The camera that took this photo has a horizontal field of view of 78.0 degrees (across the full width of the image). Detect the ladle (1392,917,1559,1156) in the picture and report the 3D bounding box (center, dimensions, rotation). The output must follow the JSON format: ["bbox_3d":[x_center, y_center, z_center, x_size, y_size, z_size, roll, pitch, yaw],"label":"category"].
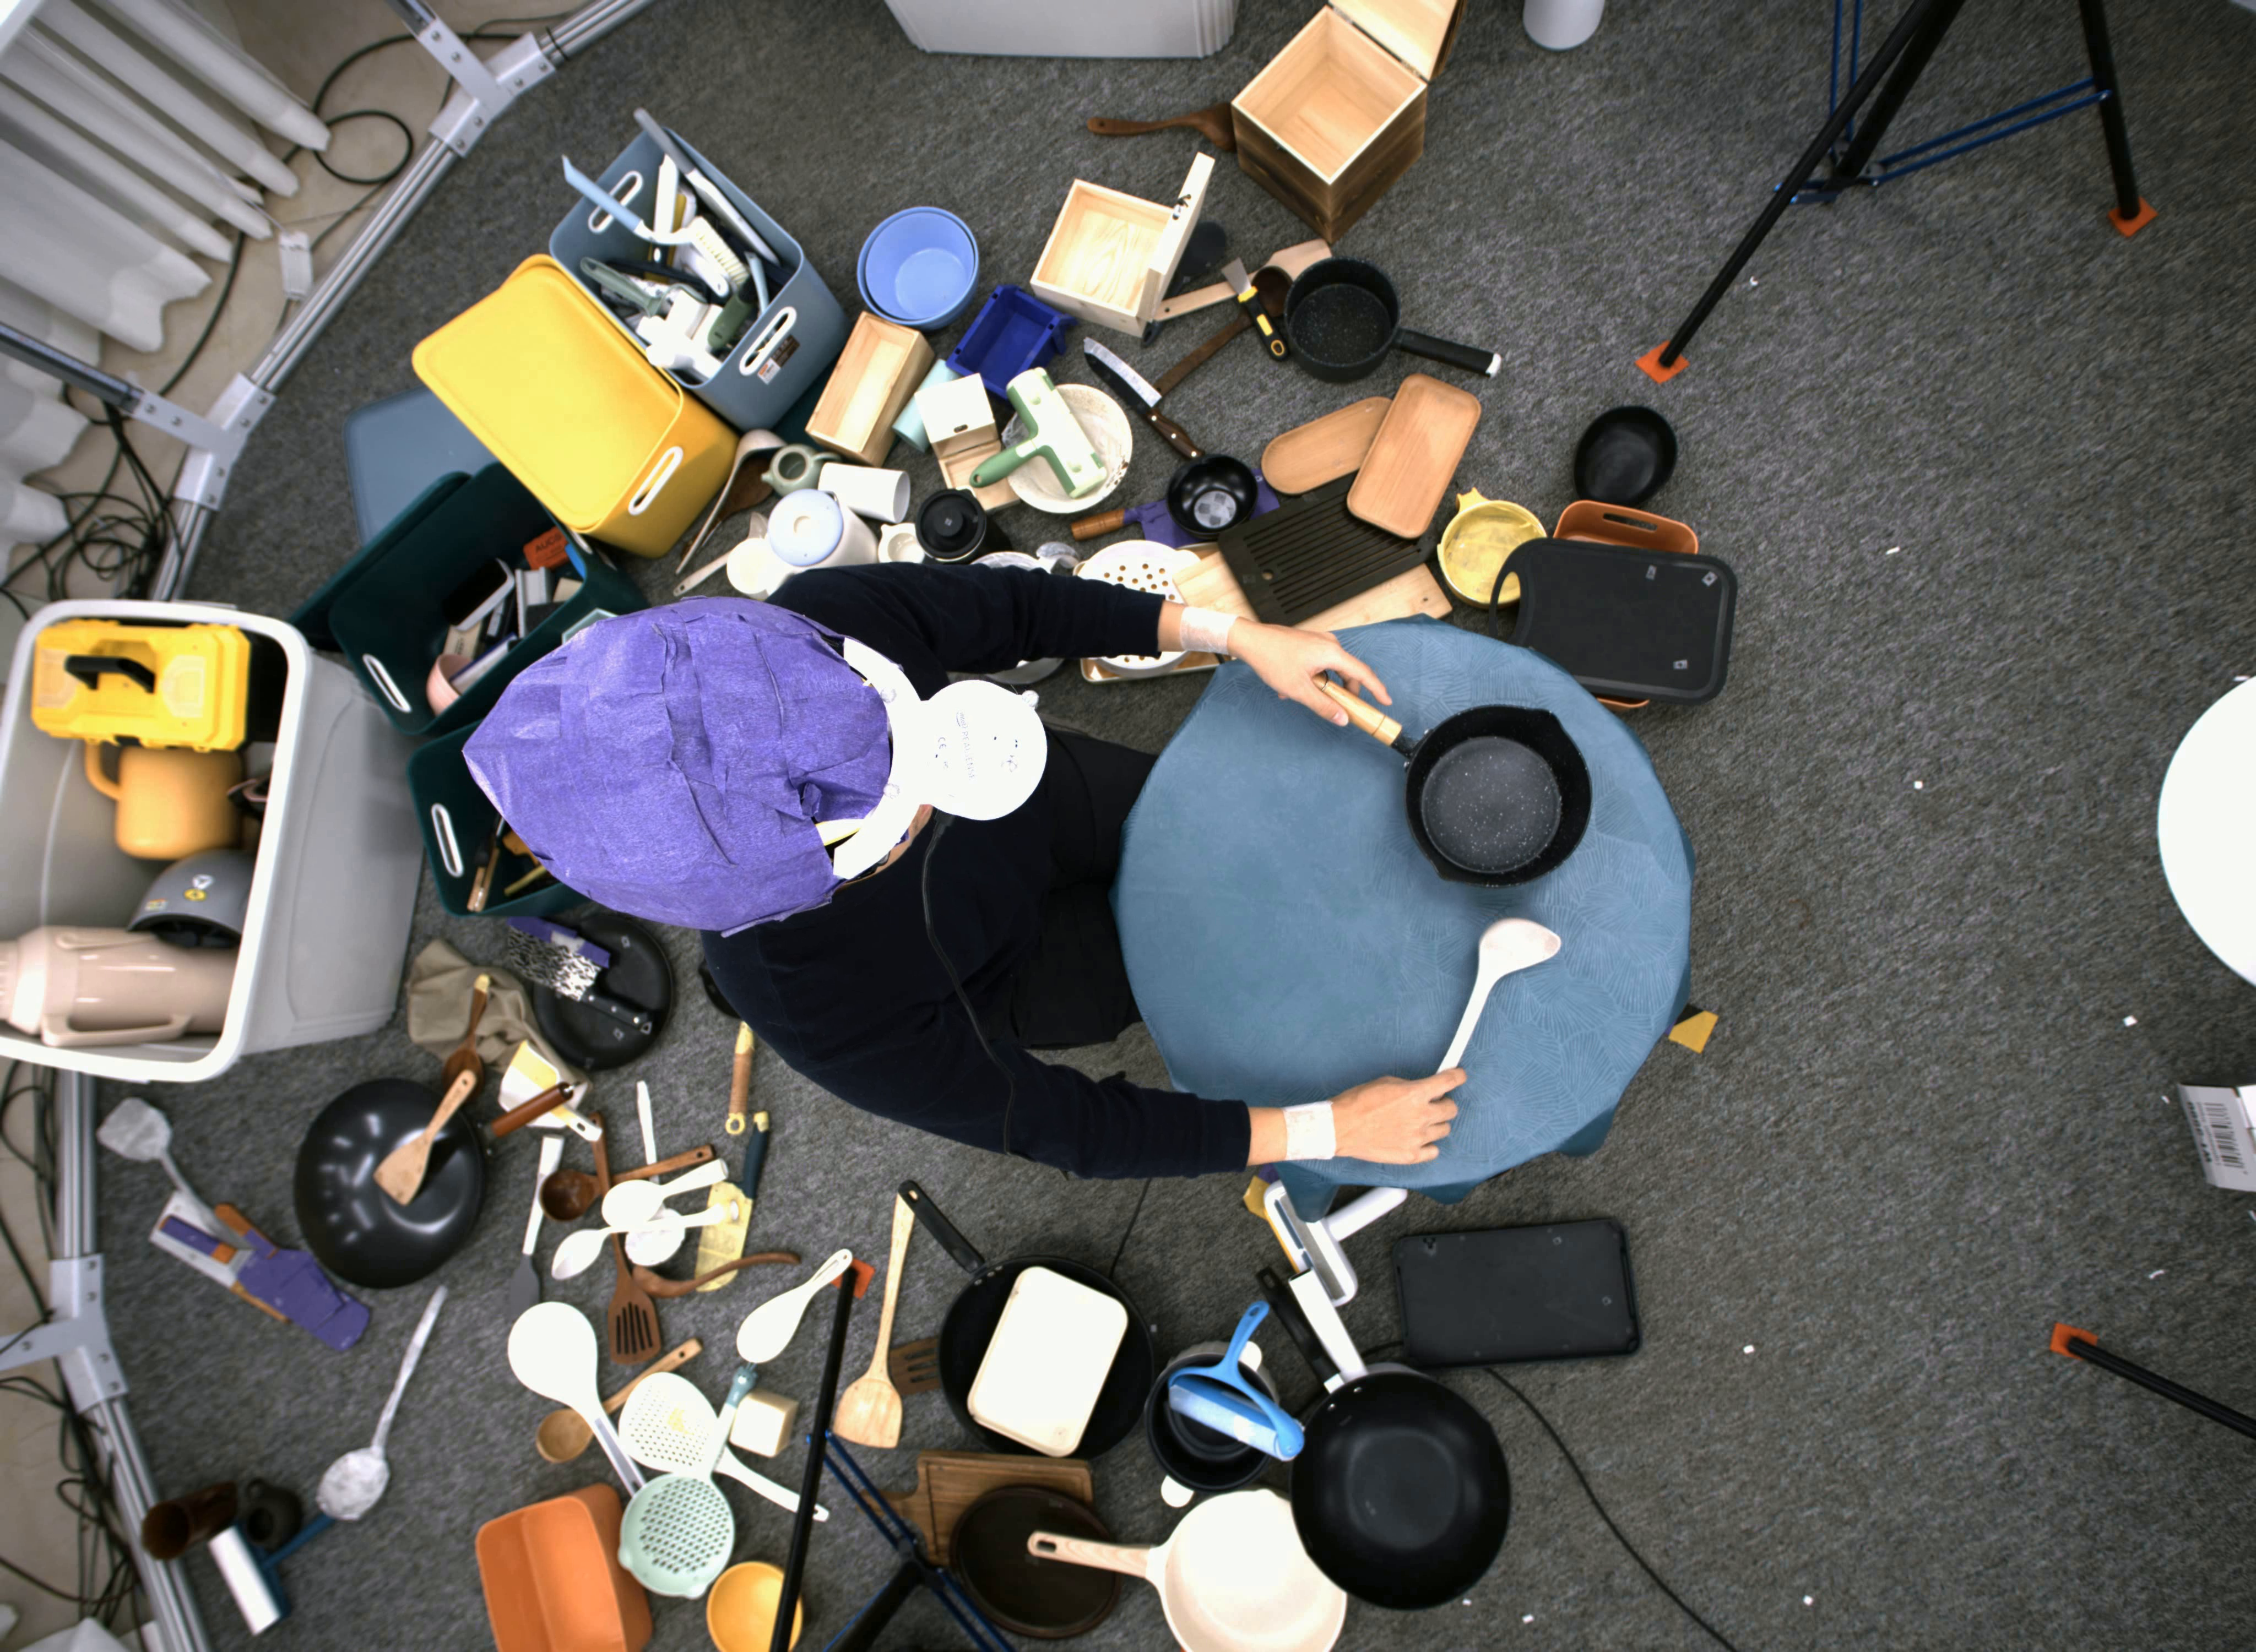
[{"bbox_3d":[0.348,0.218,1.389,0.069,0.089,0.275,25,92,46],"label":"ladle"}]

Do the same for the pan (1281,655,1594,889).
[{"bbox_3d":[0.306,-0.070,1.406,0.342,0.108,0.208,31,93,9],"label":"pan"}]
